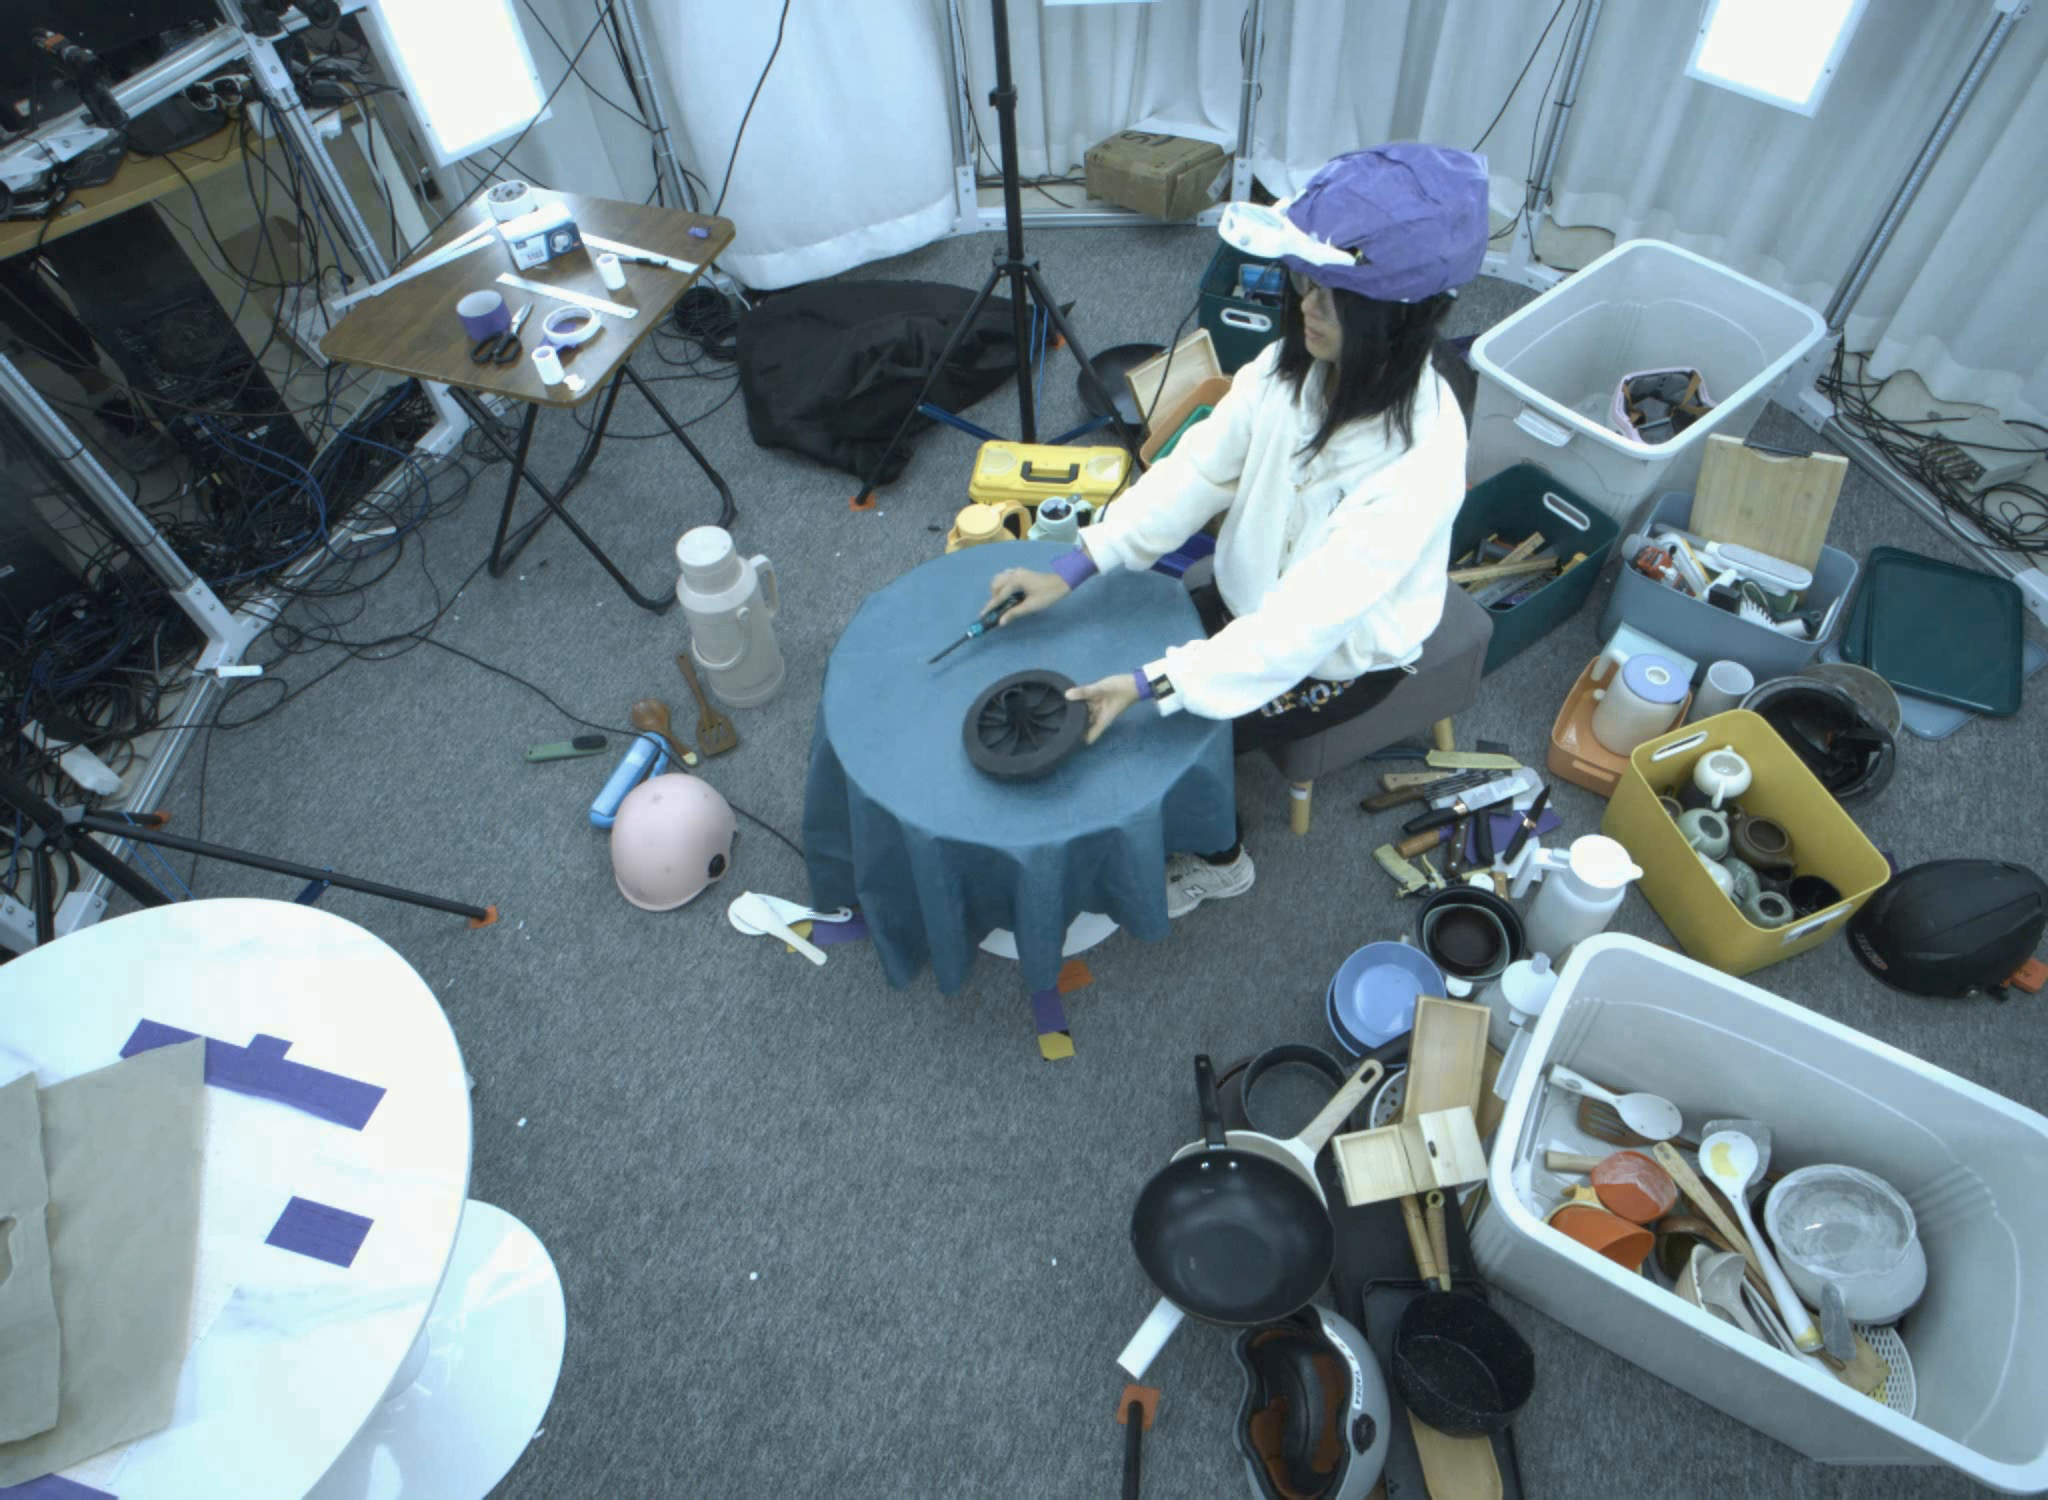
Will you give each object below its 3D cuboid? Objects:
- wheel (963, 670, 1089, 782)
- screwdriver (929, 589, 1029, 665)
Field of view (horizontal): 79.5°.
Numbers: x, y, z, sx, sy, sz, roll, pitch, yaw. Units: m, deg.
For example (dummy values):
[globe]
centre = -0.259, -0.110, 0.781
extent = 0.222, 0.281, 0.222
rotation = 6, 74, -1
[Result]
[wheel]
centre = -0.006, -0.048, 1.756
extent = 0.188, 0.080, 0.186
rotation = -9, 53, 17
[screwdriver]
centre = -0.072, -0.186, 1.884
extent = 0.191, 0.034, 0.033
rotation = -38, 61, -16
